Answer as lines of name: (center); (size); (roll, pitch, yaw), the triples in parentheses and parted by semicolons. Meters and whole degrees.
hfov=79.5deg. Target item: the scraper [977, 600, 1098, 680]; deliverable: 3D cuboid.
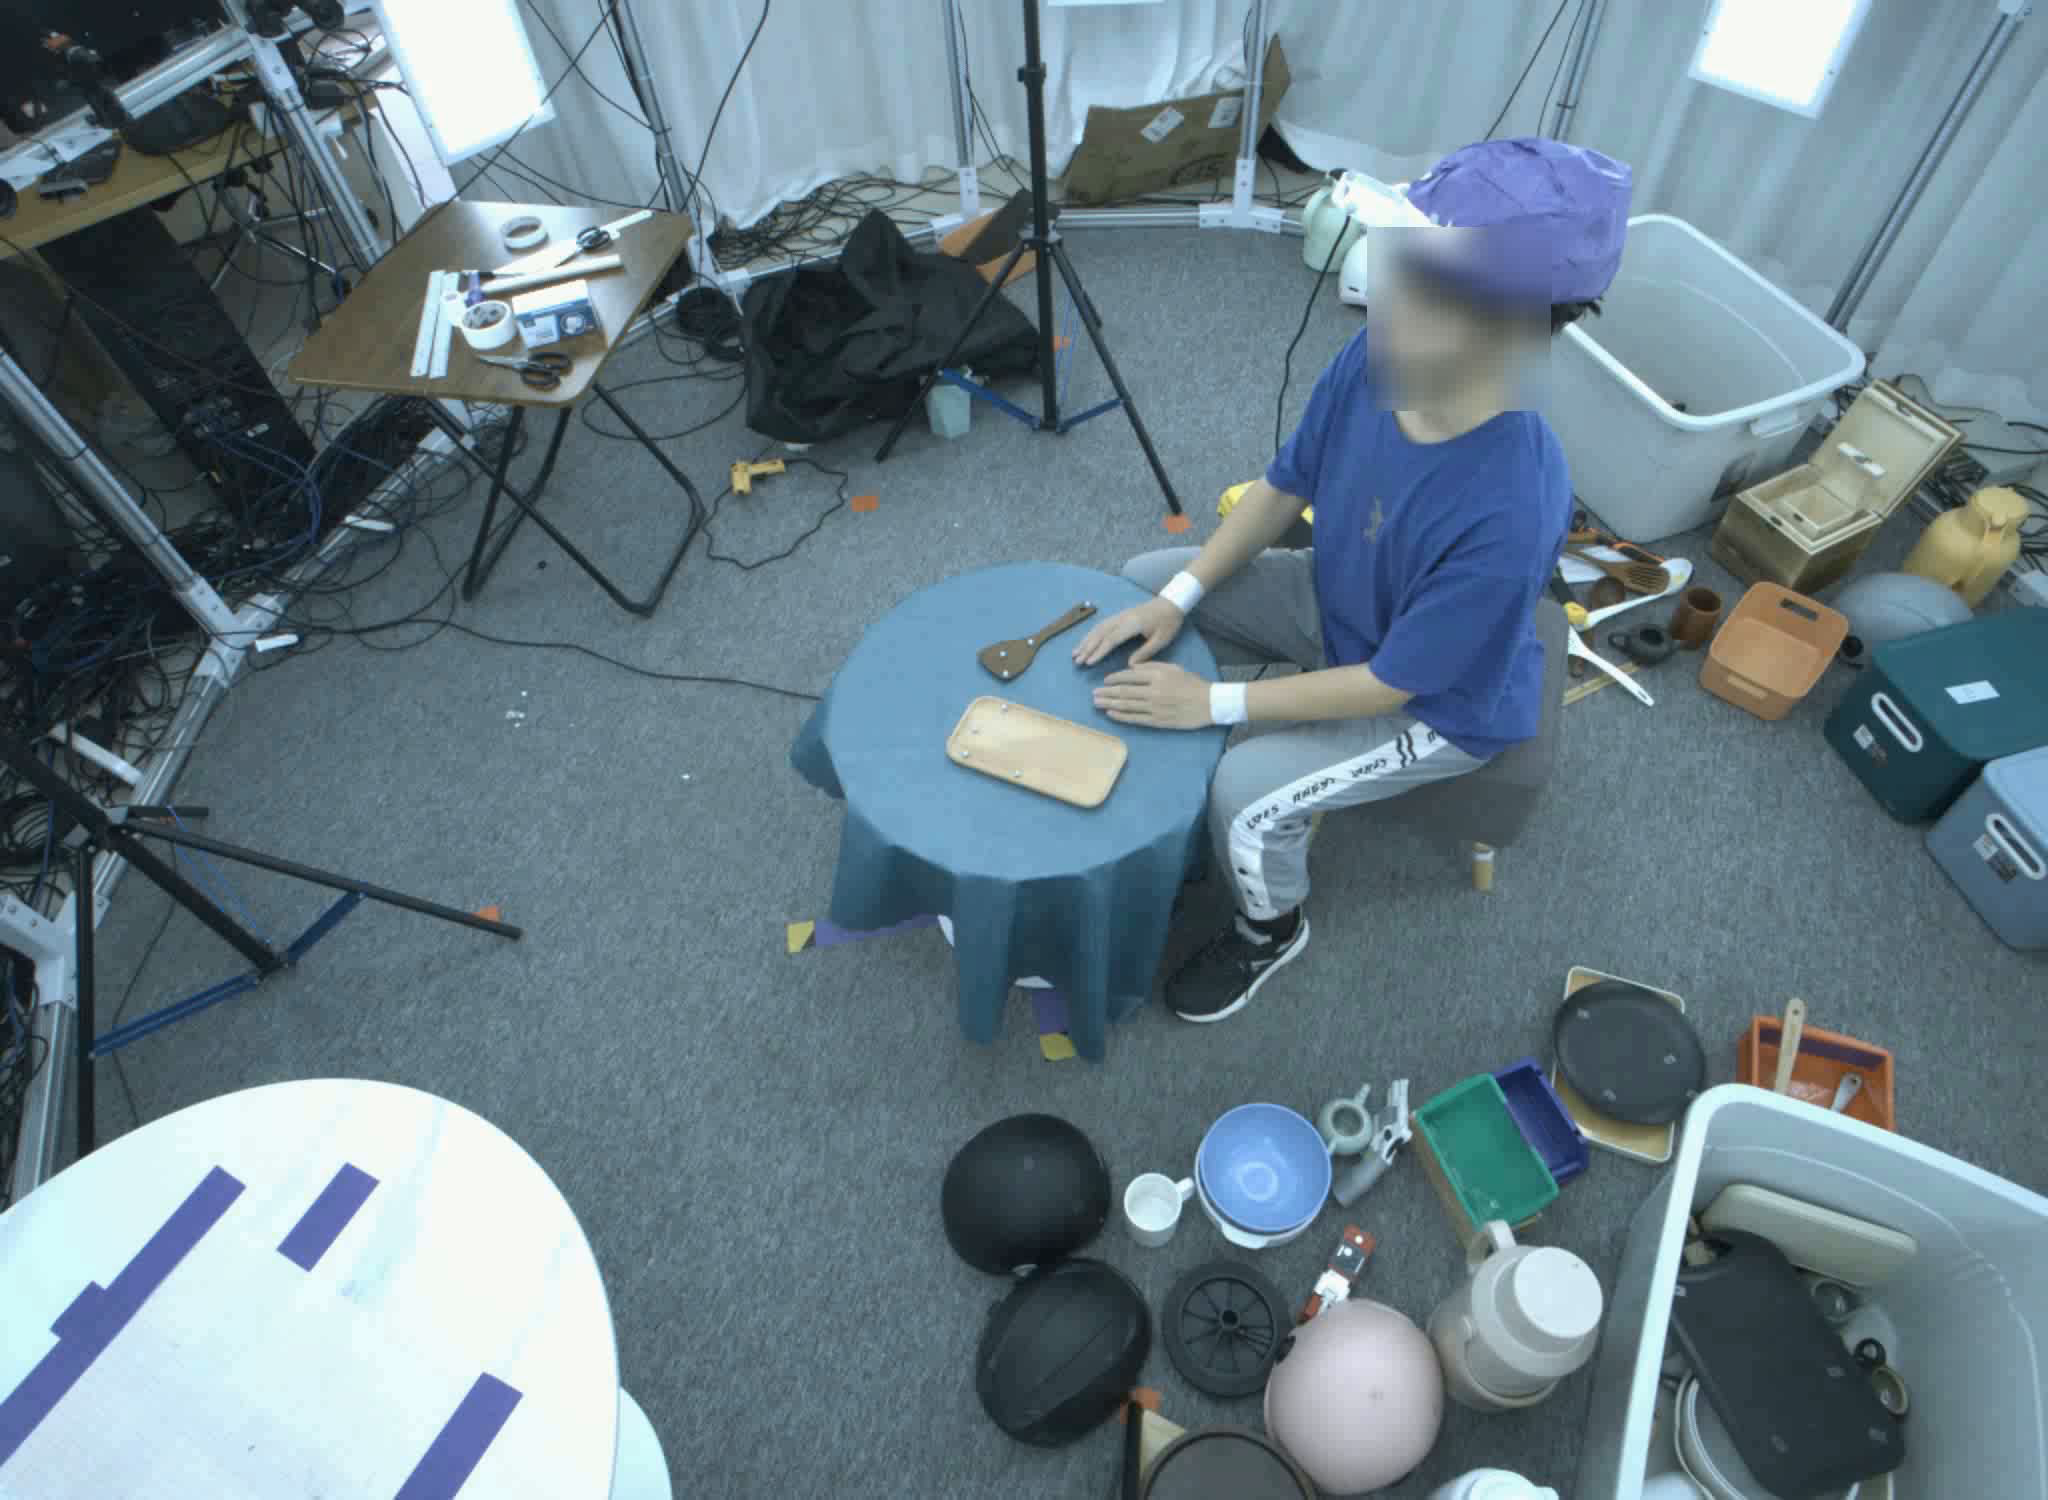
scraper: (0.028, -0.176, 1.898); (0.213, 0.011, 0.074); (-33, 61, -21)

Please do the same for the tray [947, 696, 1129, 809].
tray: (0.019, 0.002, 1.765); (0.248, 0.023, 0.130); (20, 60, 15)
